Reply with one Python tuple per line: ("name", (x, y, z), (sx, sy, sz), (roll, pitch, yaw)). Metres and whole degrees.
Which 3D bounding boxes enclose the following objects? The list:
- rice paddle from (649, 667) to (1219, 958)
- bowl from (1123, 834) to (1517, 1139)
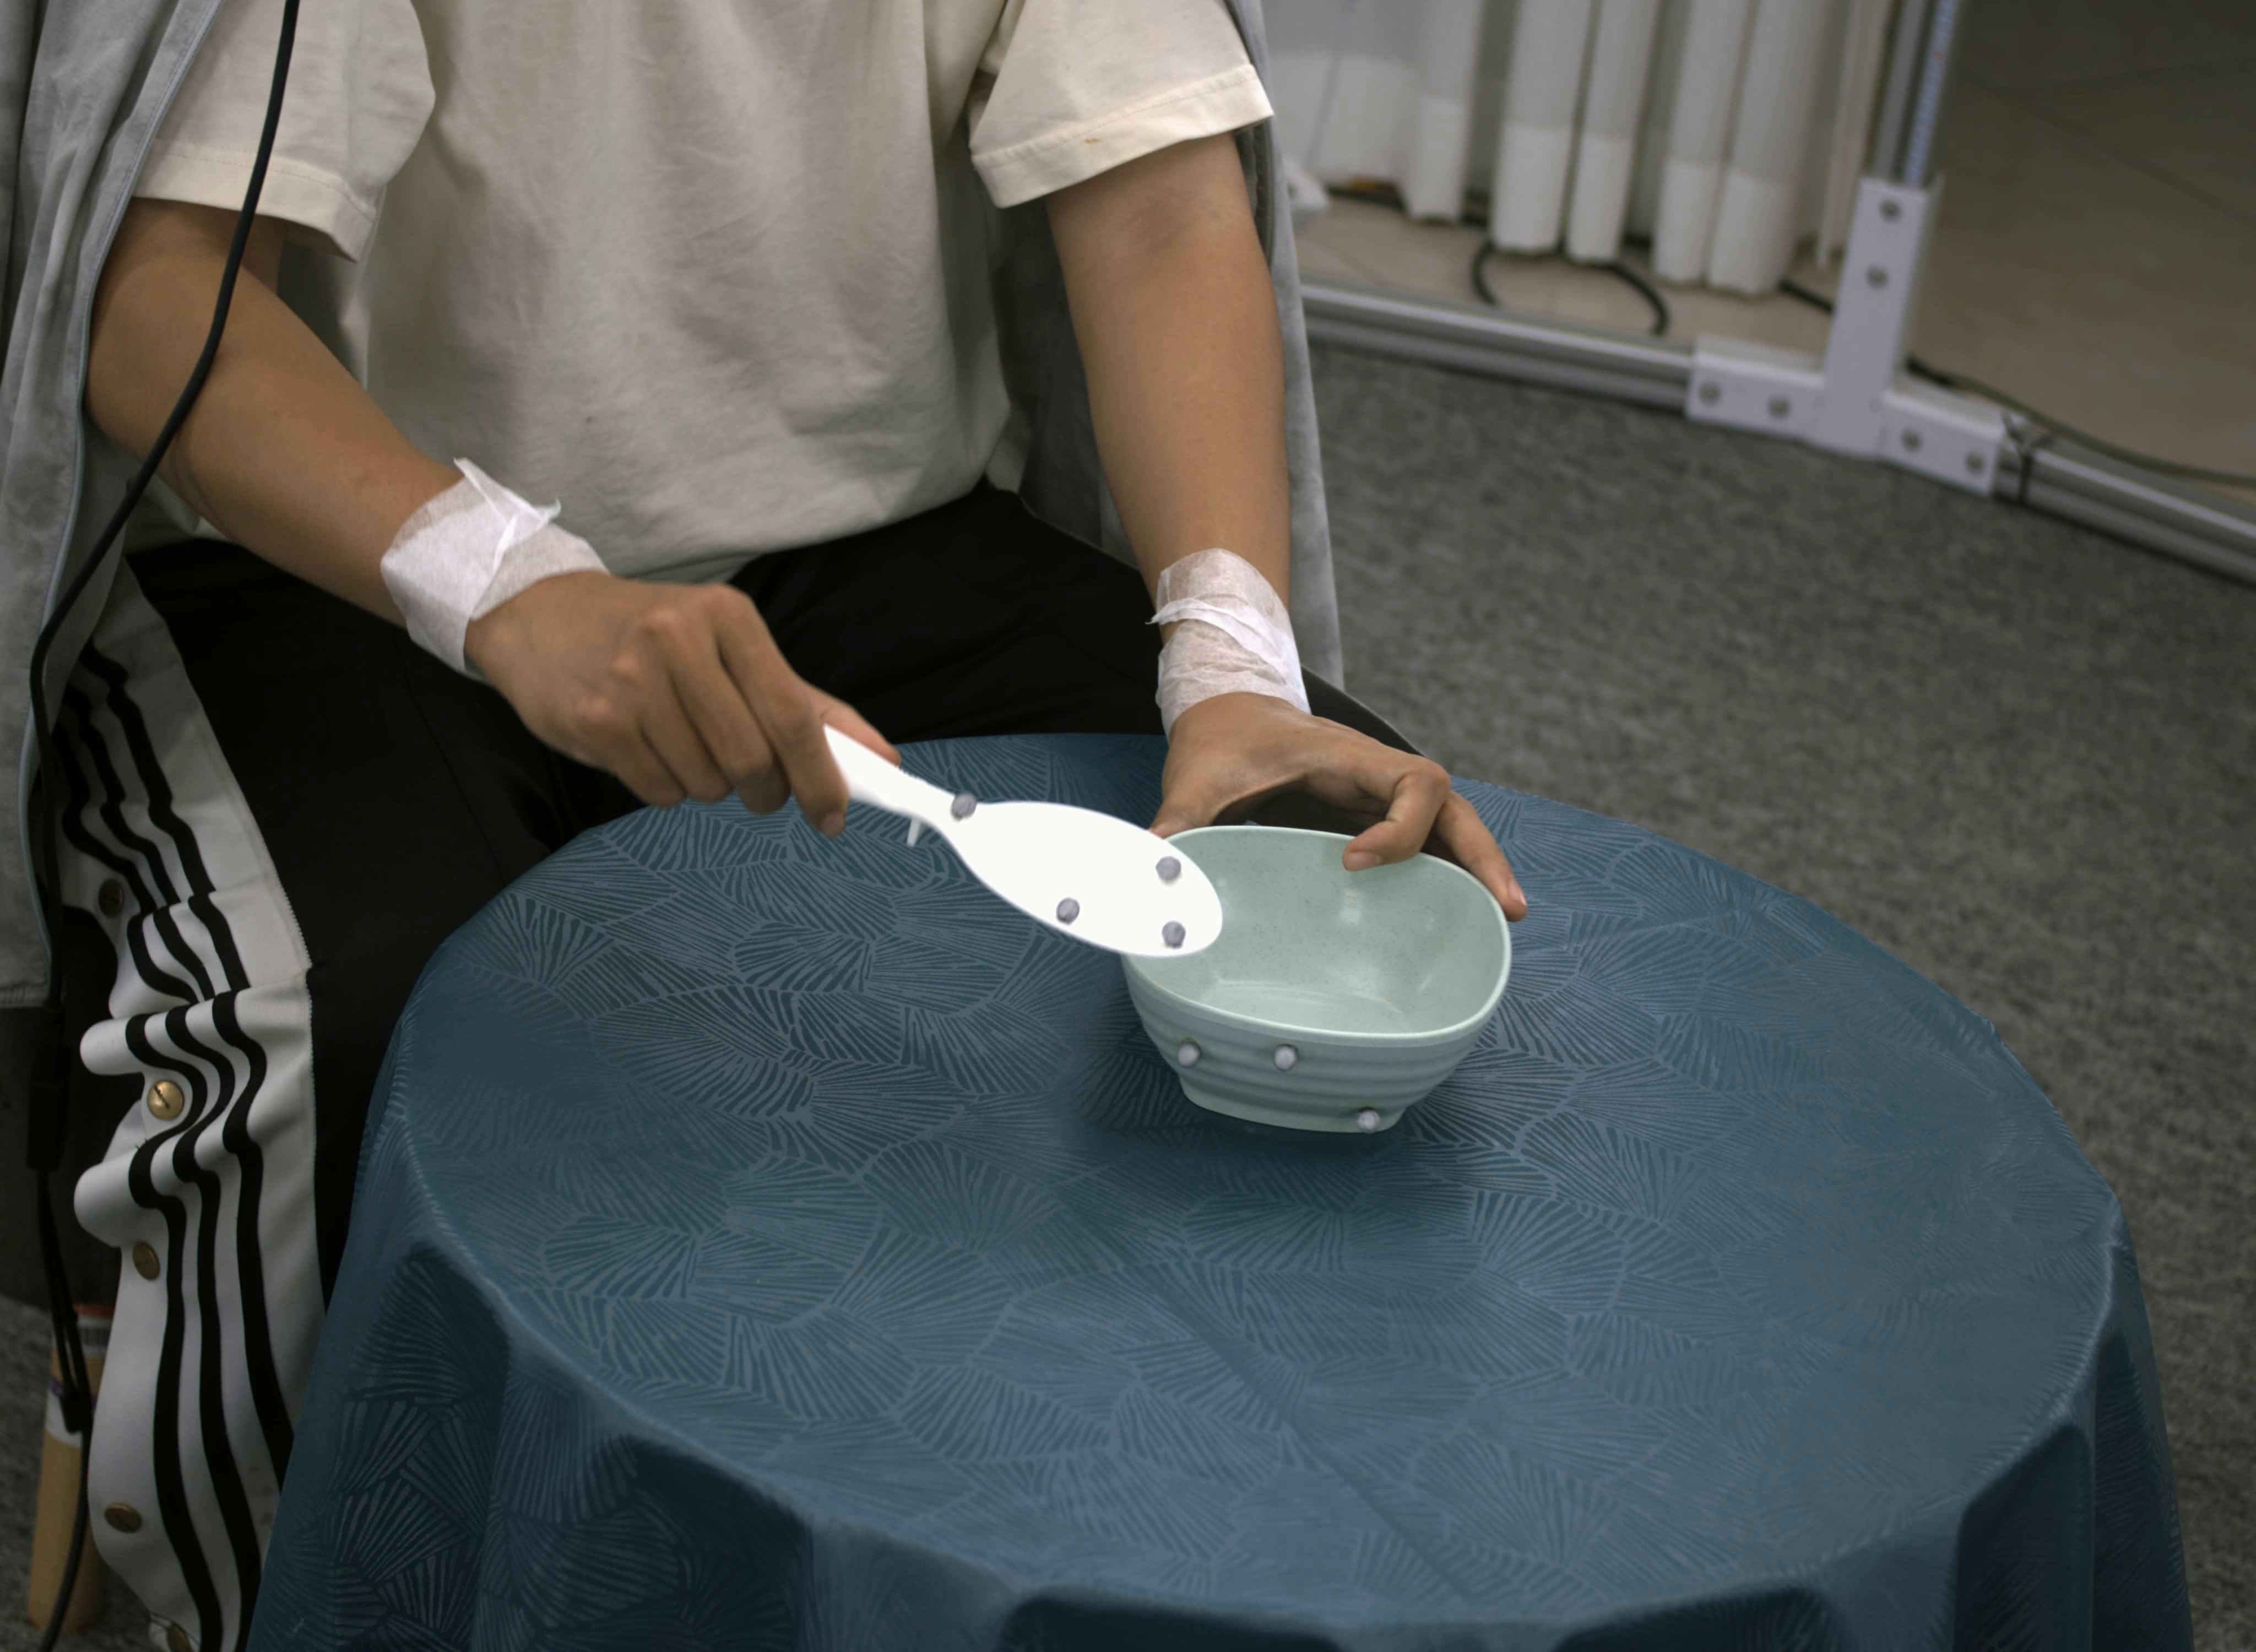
("rice paddle", (-0.064, -0.004, 1.807), (0.205, 0.029, 0.069), (22, 38, 7))
("bowl", (0.065, 0.063, 1.877), (0.151, 0.058, 0.152), (3, 30, -2))
